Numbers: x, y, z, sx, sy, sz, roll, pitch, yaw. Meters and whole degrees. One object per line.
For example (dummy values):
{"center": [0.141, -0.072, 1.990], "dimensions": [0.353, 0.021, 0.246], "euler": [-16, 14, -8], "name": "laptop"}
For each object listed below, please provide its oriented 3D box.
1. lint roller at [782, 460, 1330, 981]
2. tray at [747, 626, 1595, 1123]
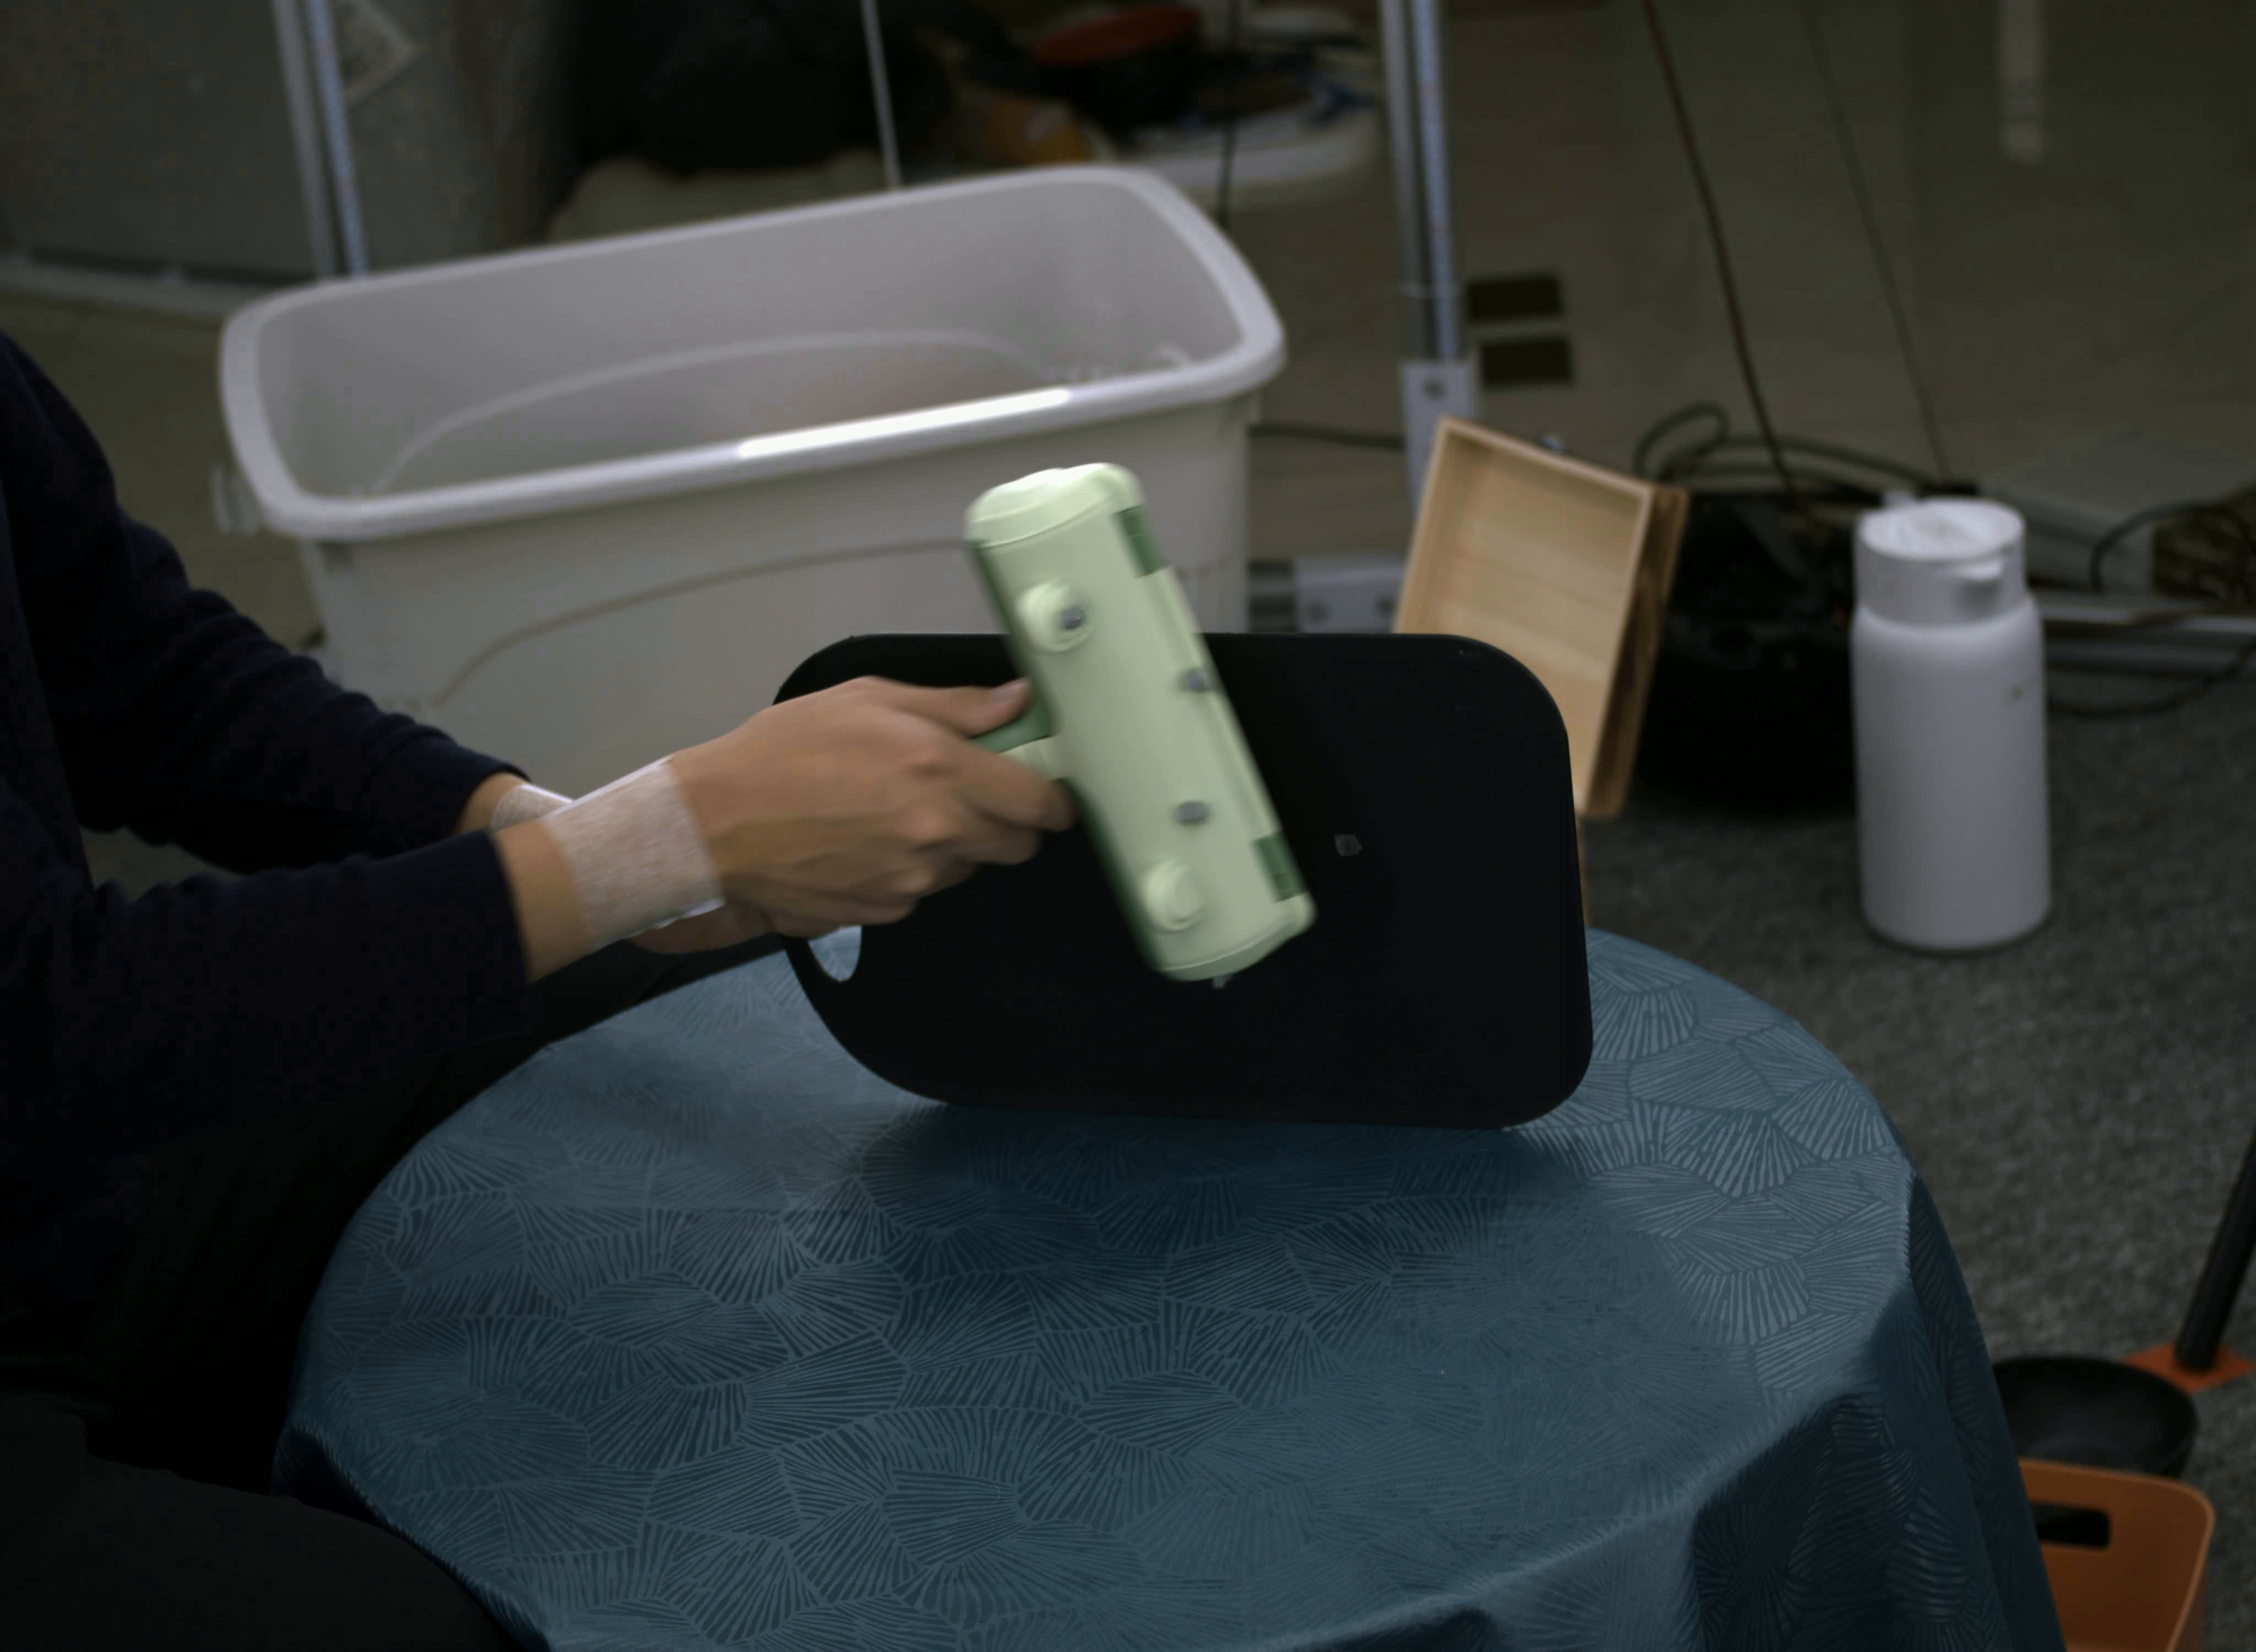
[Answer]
{"center": [-0.043, -0.016, 2.077], "dimensions": [0.183, 0.201, 0.081], "euler": [-21, 19, 6], "name": "lint roller"}
{"center": [0.012, 0.019, 2.145], "dimensions": [0.325, 0.215, 0.009], "euler": [0, 29, 15], "name": "tray"}
